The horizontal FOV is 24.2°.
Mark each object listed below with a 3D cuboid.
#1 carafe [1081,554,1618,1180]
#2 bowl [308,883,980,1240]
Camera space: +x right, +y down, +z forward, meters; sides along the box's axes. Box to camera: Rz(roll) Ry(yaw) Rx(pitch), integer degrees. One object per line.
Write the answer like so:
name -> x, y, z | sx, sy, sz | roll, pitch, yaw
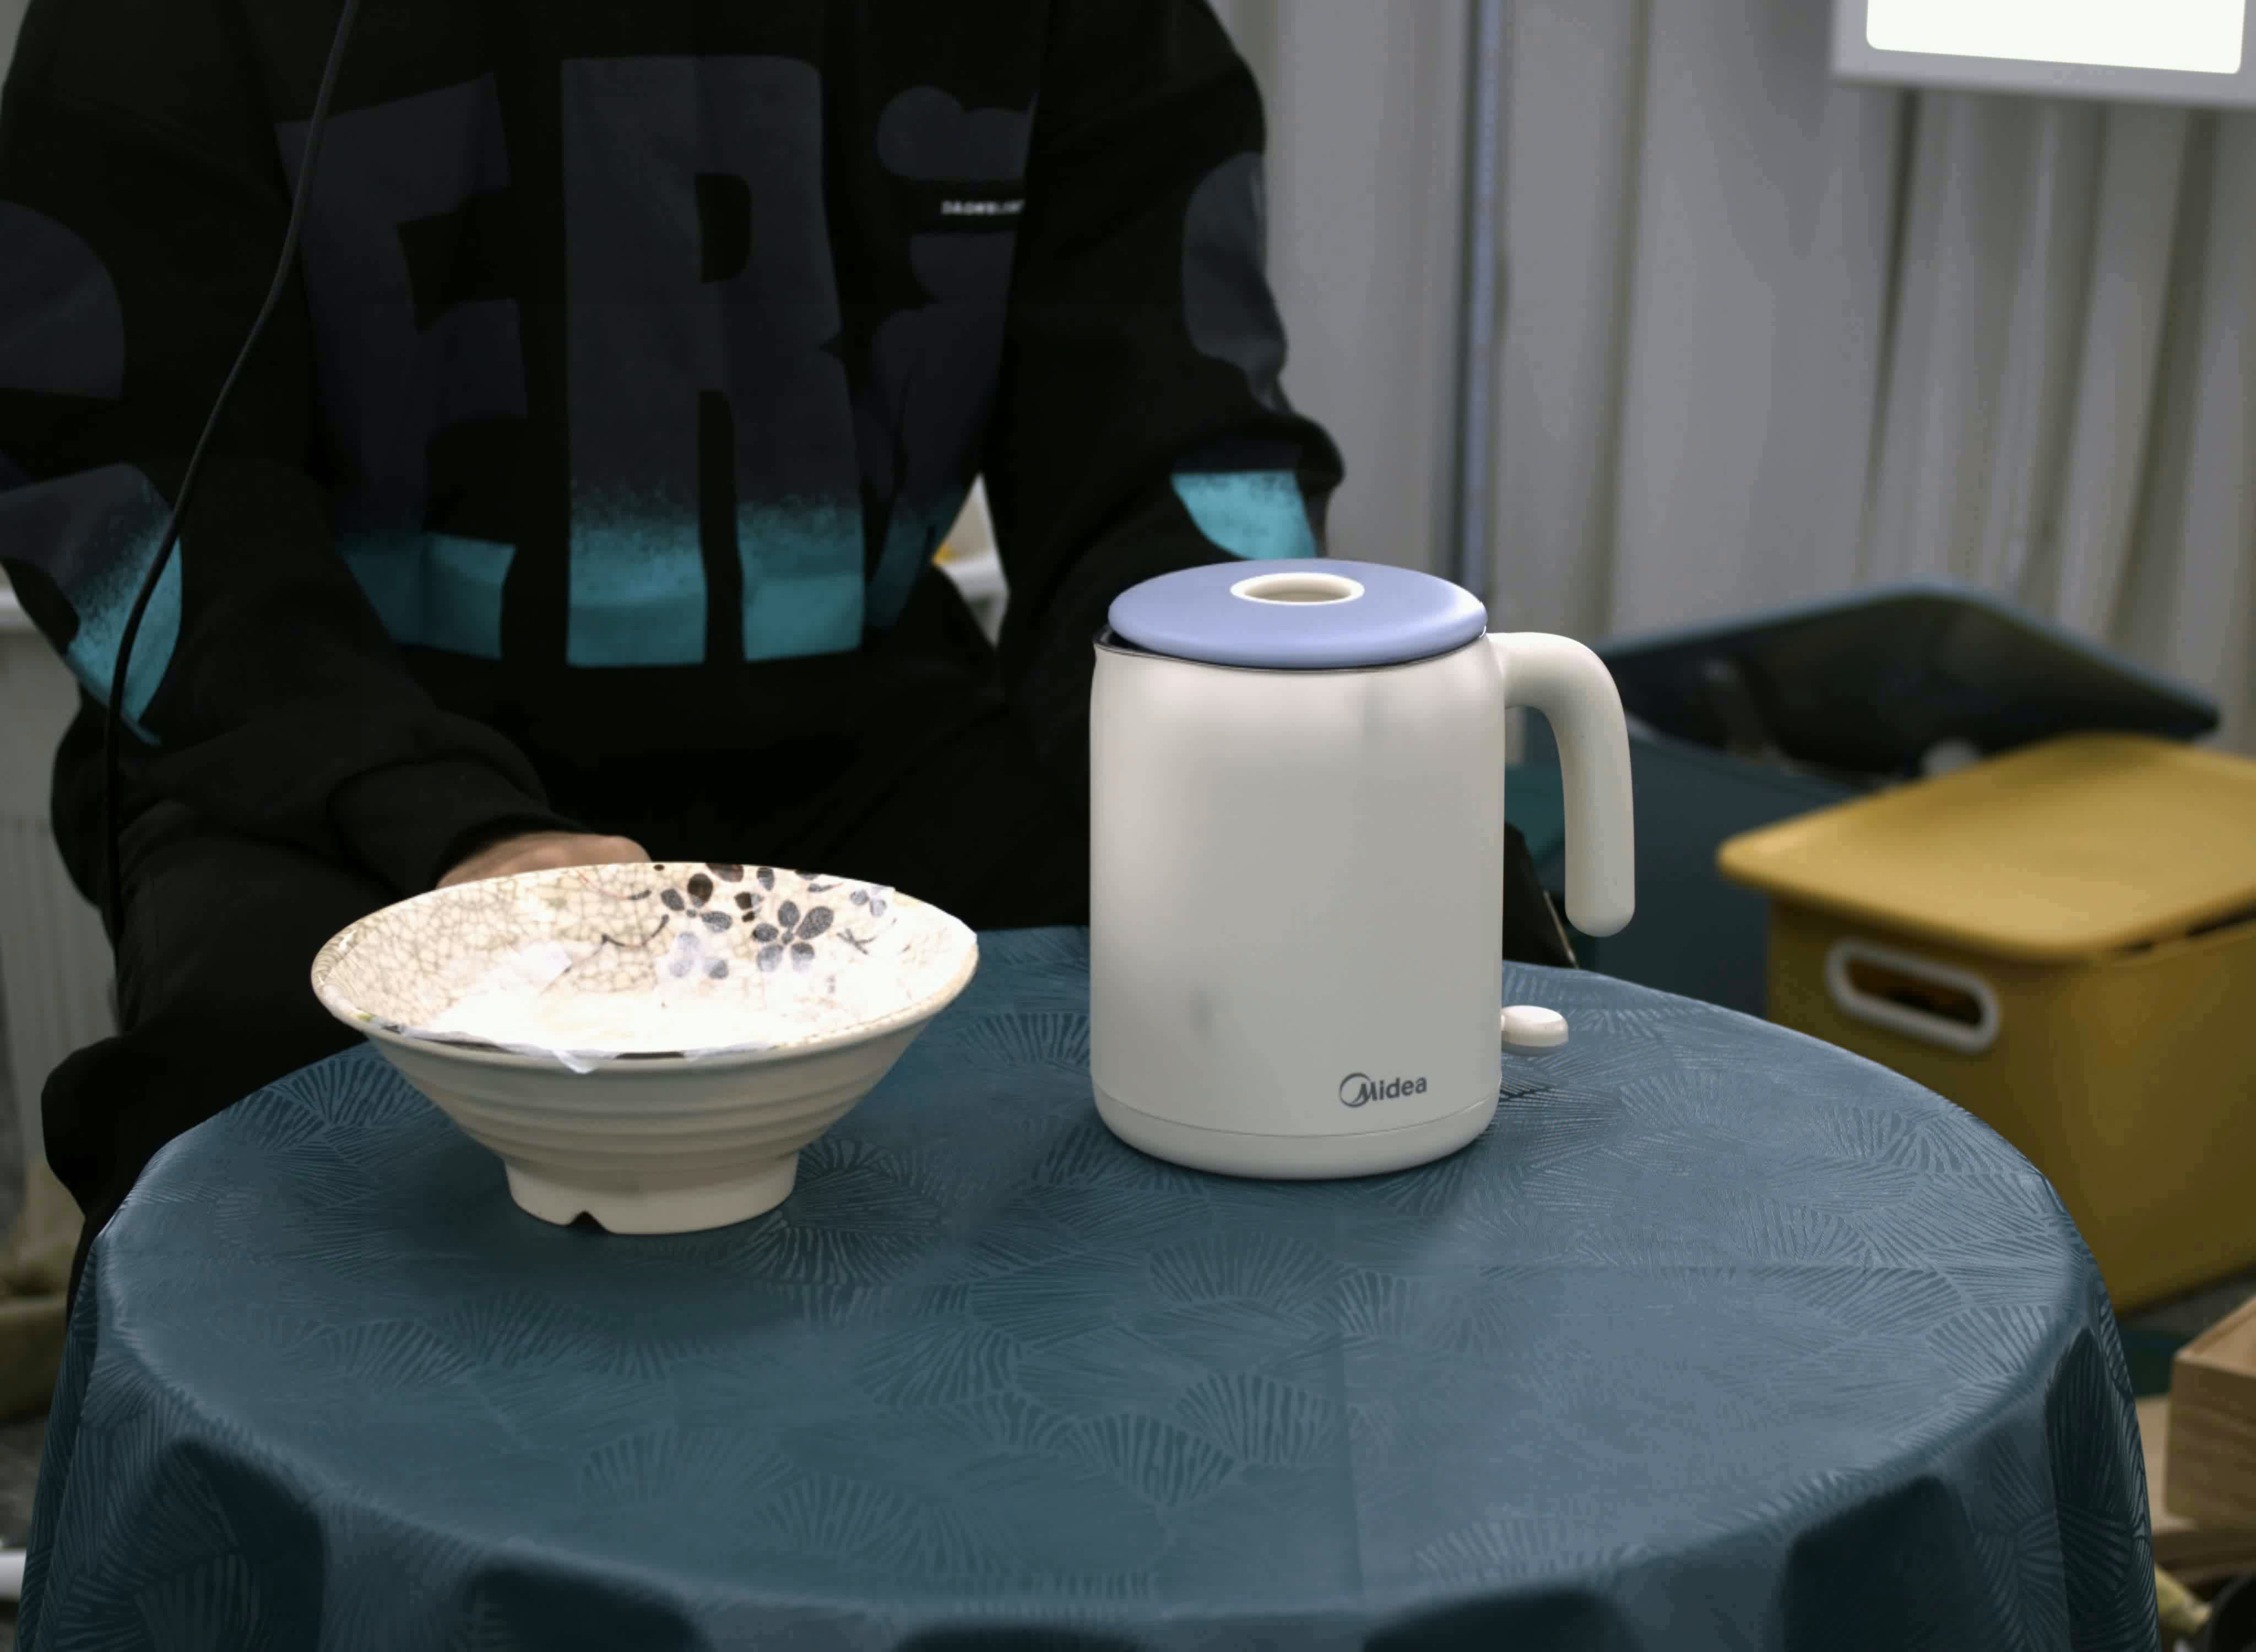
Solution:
carafe -> 0.074, 0.010, 1.672 | 0.192, 0.184, 0.130 | -5, 18, -25
bowl -> -0.146, 0.077, 1.604 | 0.203, 0.078, 0.203 | 0, 13, 1
